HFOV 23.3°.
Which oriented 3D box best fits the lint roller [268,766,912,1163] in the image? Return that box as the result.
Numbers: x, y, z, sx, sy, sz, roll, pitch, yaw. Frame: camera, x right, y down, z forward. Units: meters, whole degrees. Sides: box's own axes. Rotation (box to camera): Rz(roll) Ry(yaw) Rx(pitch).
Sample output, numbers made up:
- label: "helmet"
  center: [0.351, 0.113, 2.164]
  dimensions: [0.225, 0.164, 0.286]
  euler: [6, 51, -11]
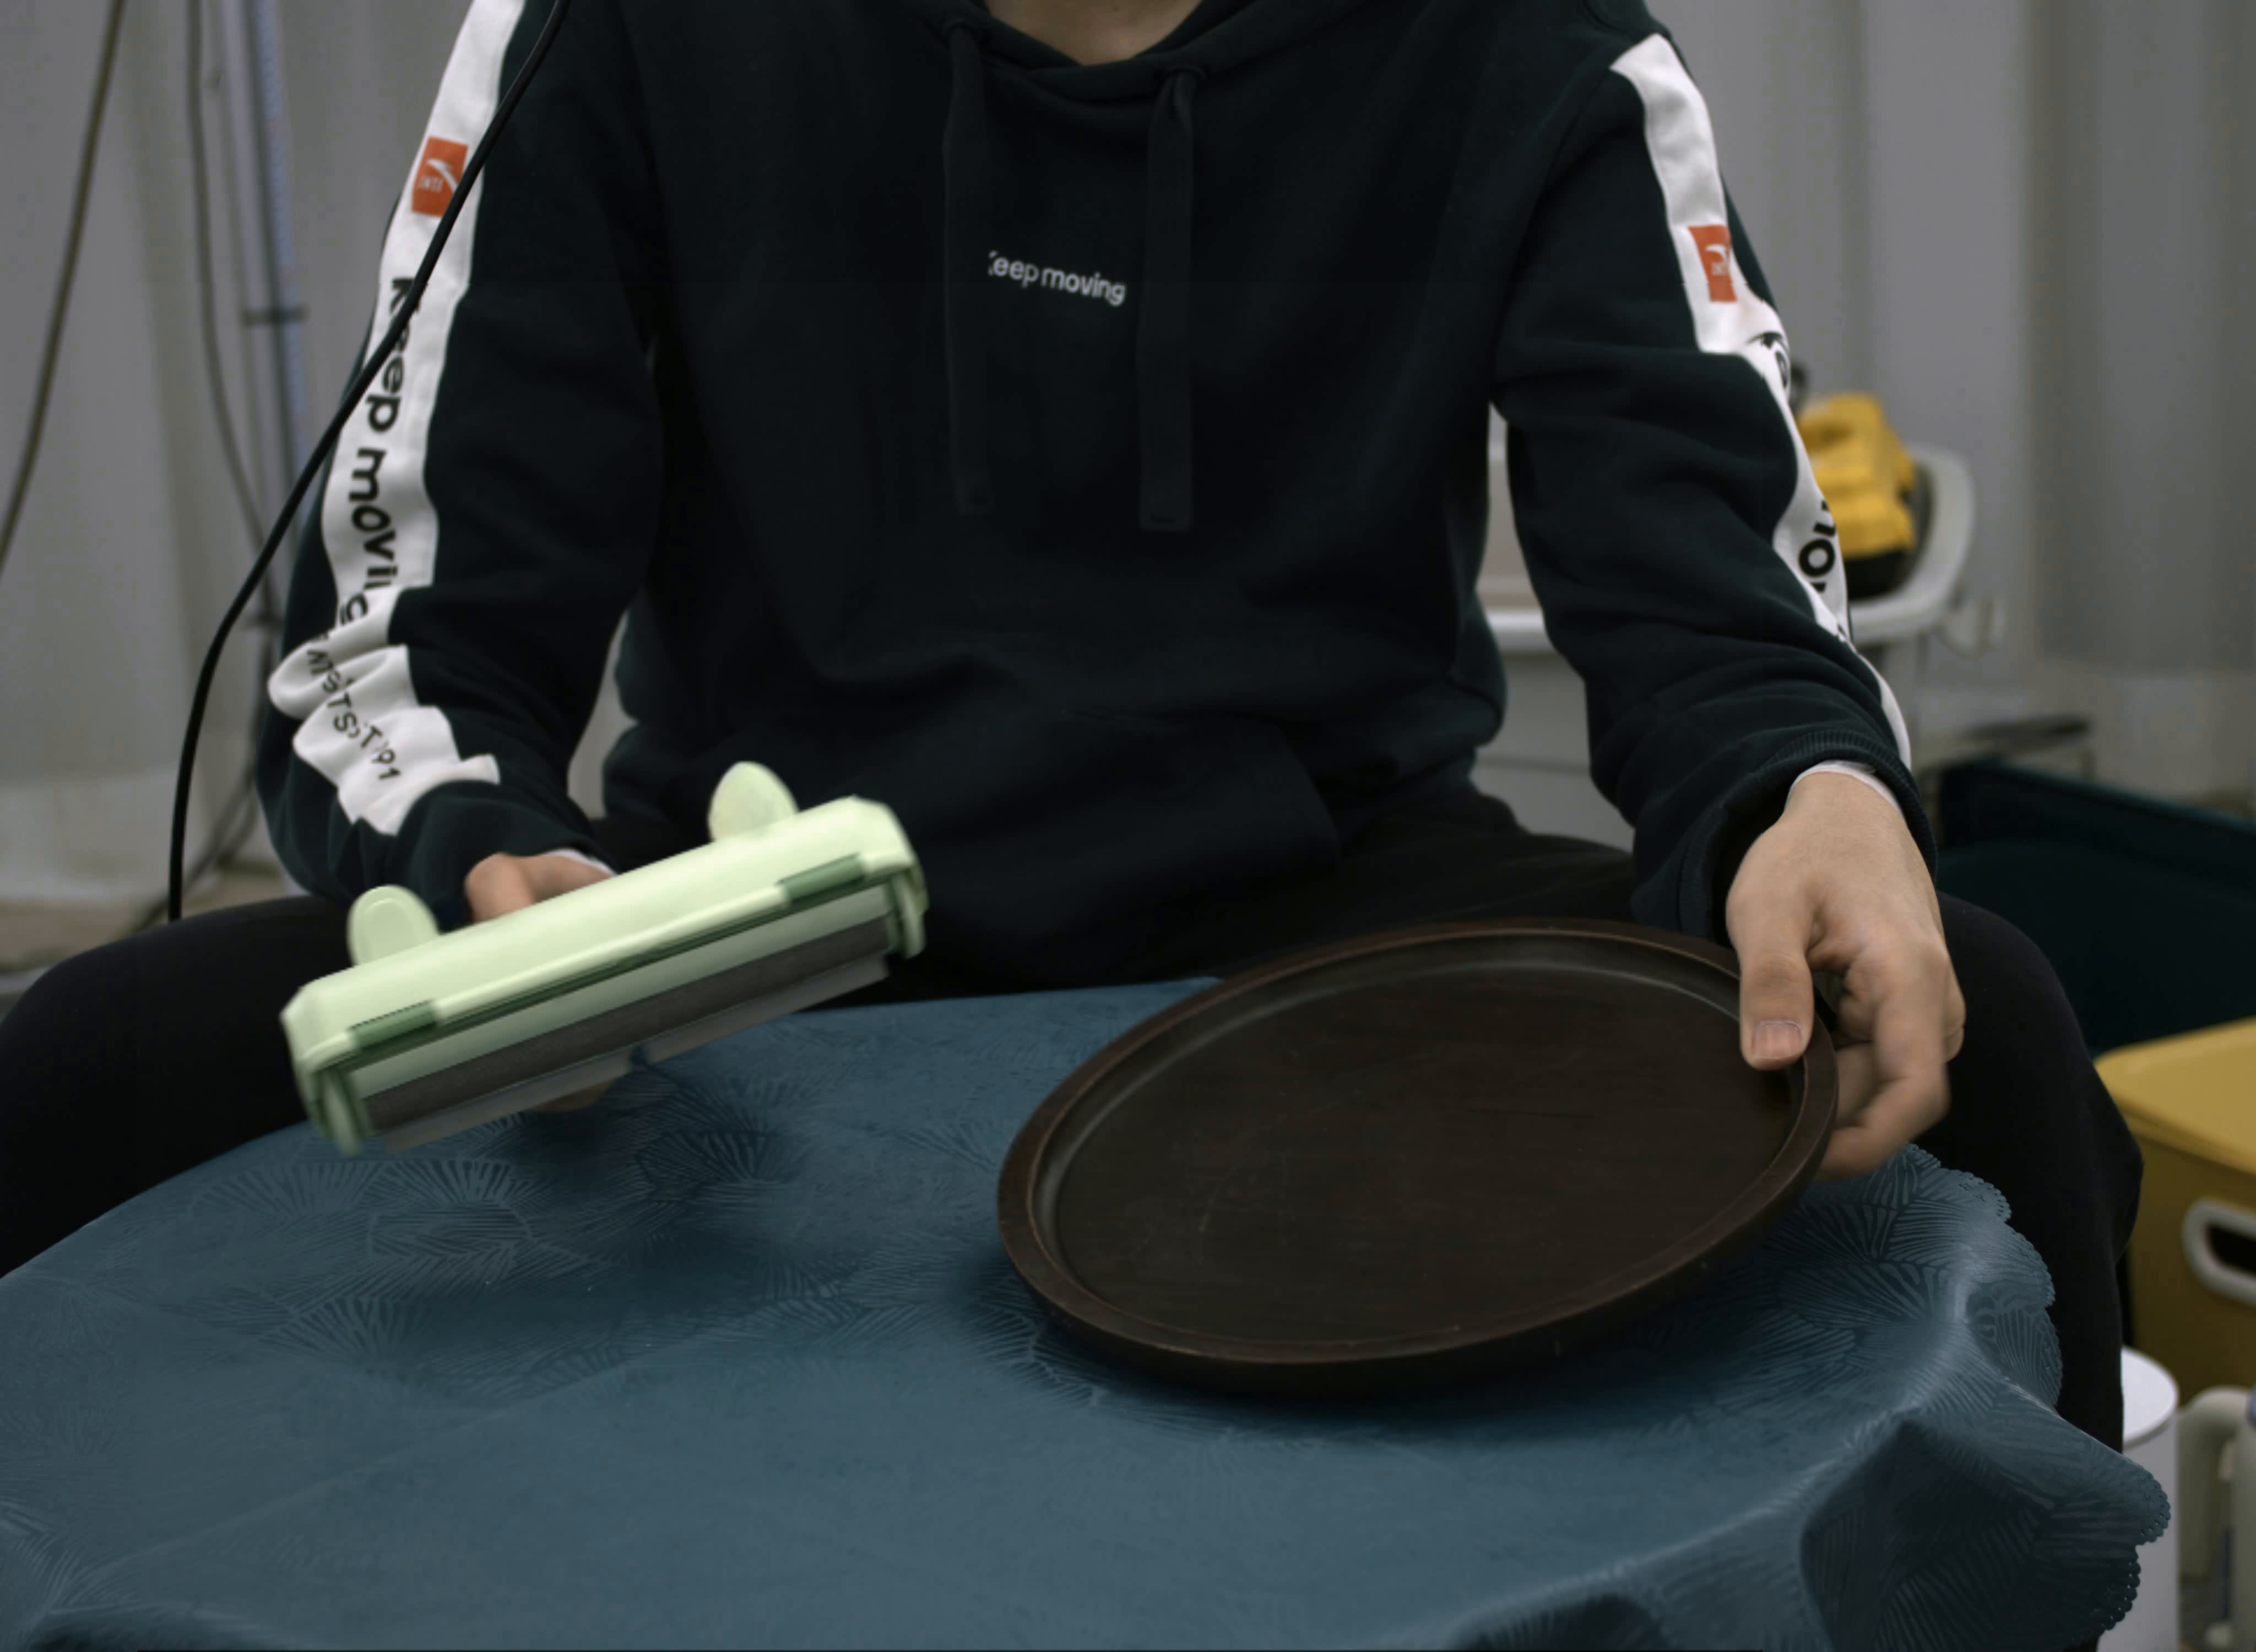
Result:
- label: "lint roller"
  center: [-0.176, 0.035, 1.719]
  dimensions: [0.198, 0.082, 0.184]
  euler: [-19, 9, -10]

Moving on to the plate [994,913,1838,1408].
- label: "plate"
  center: [0.085, 0.098, 1.615]
  dimensions: [0.254, 0.029, 0.257]
  euler: [-12, 24, 5]
